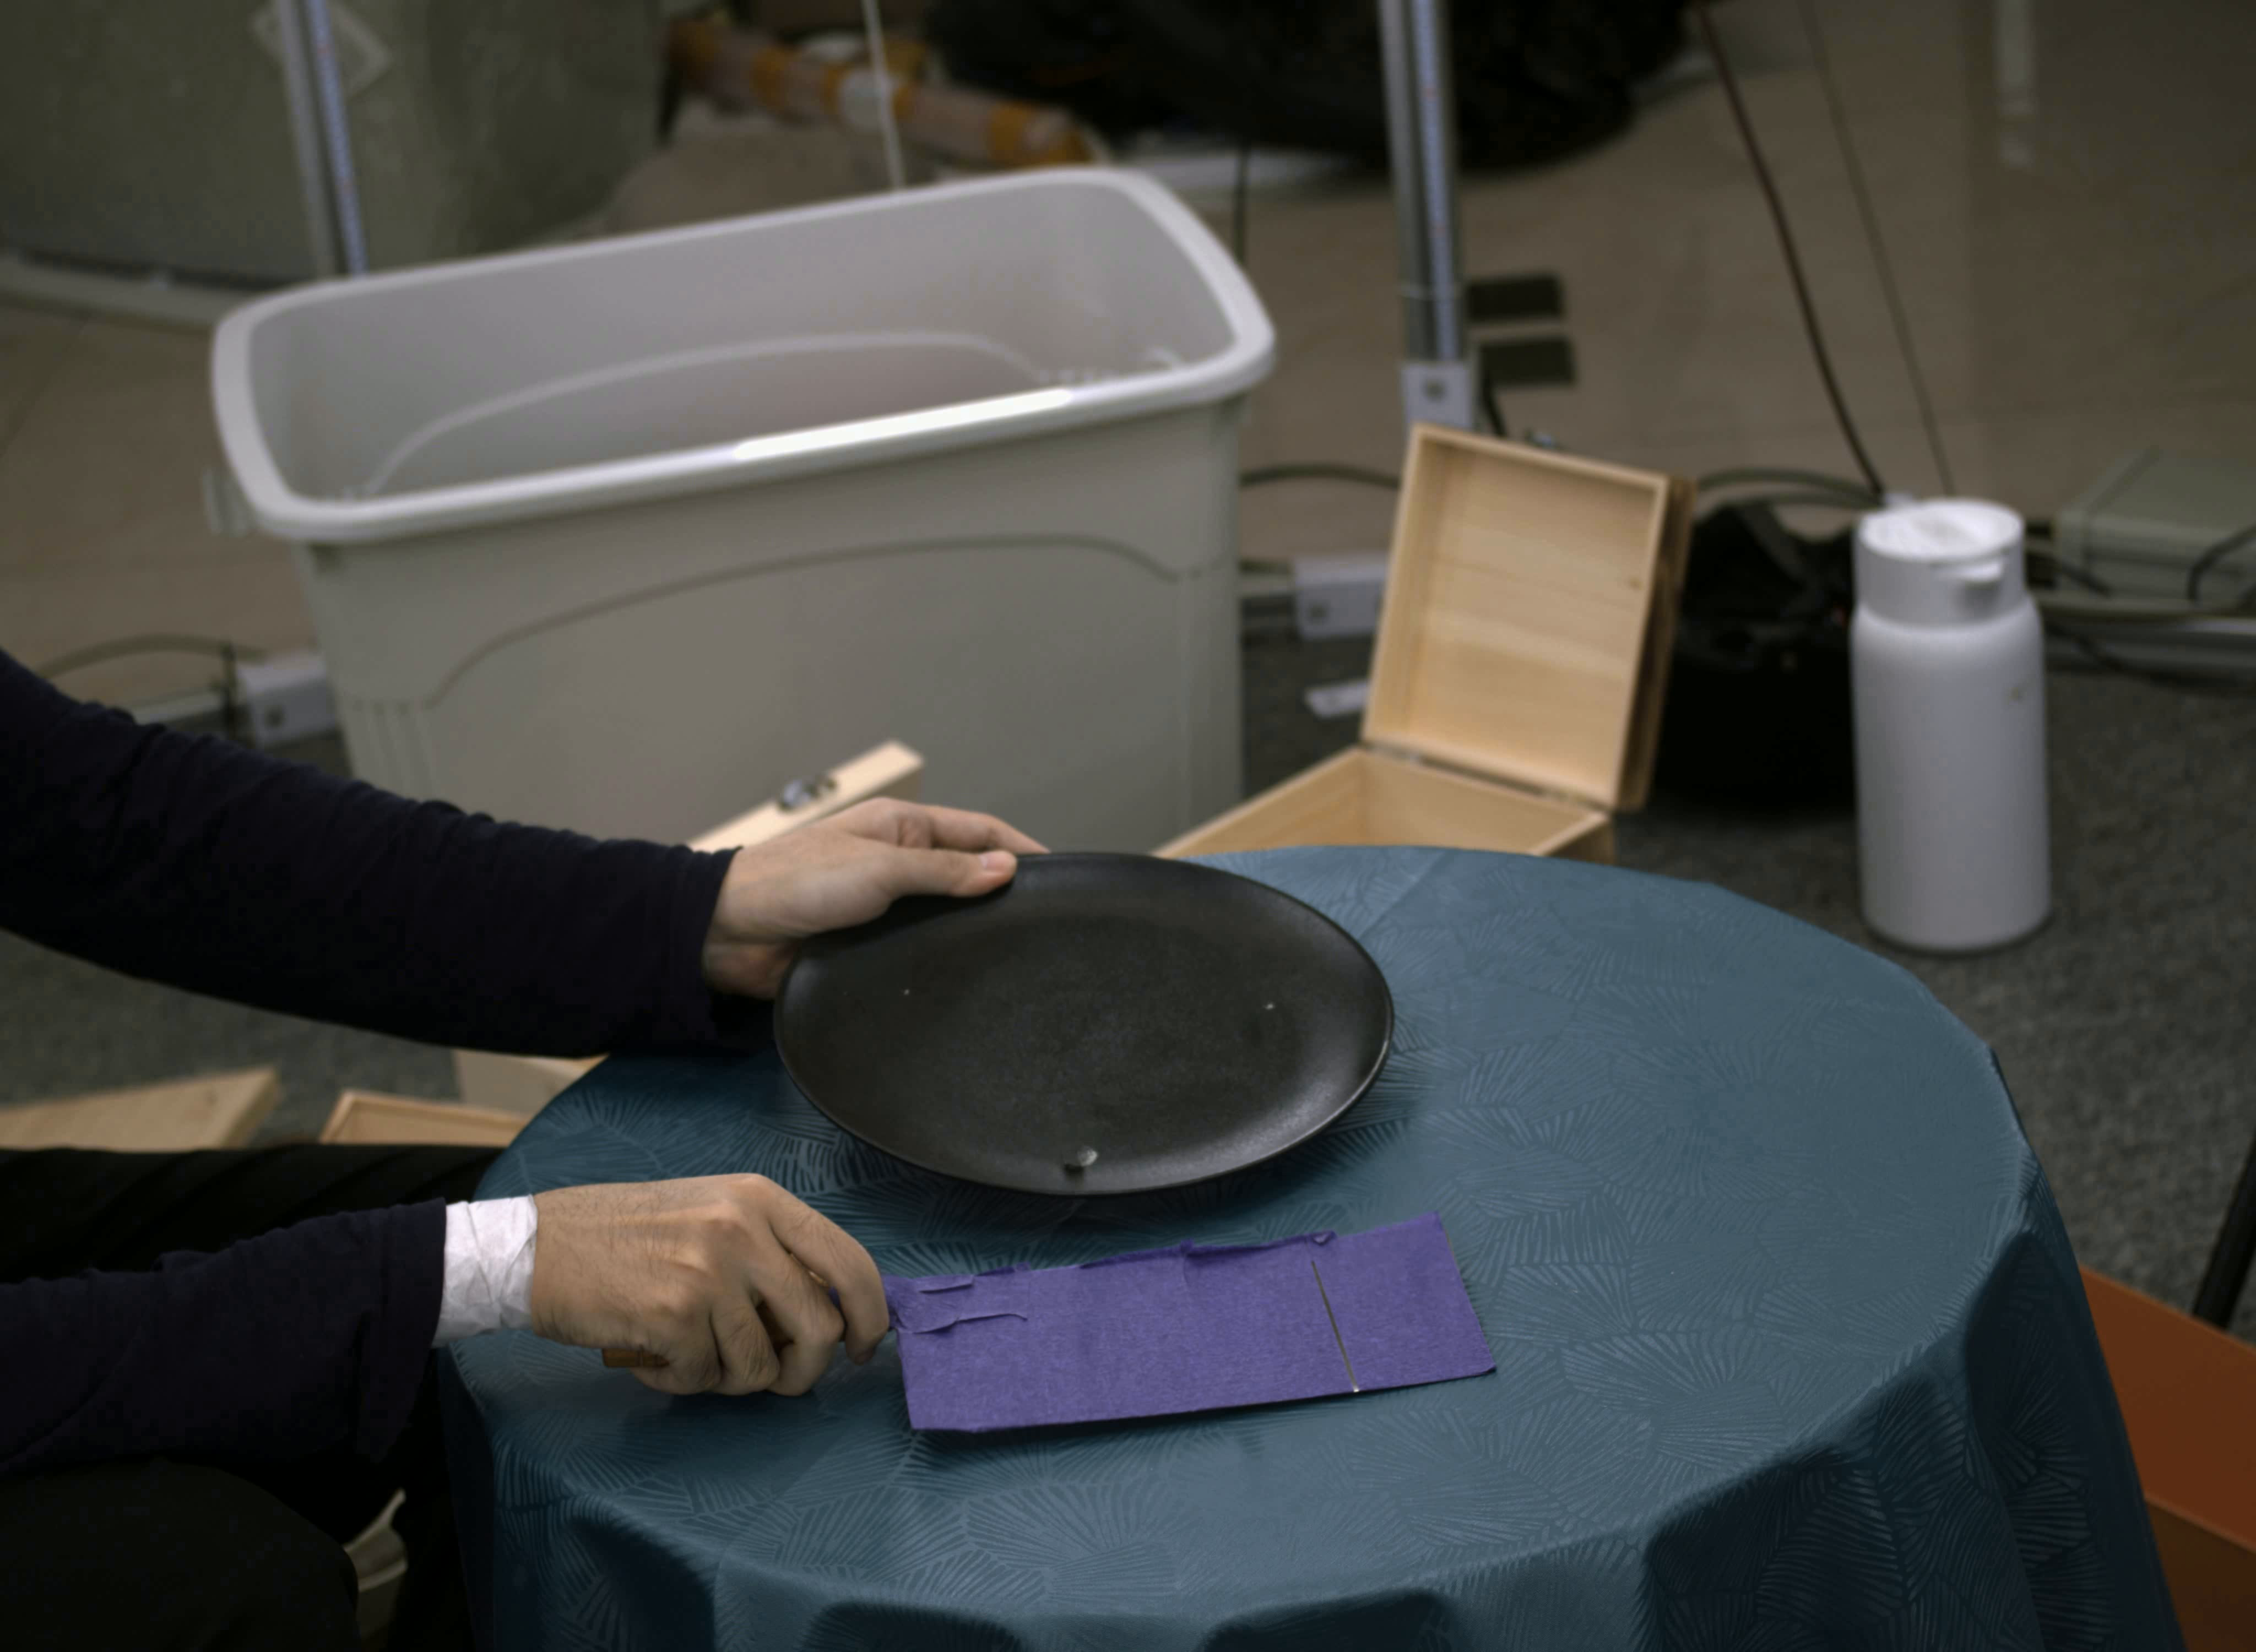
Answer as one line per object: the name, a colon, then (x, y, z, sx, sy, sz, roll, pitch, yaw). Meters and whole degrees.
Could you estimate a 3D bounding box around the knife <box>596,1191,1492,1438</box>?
knife: (-0.030, 0.179, 2.022, 0.314, 0.033, 0.102, -8, 34, -5)

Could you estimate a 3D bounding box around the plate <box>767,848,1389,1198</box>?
plate: (-0.020, 0.081, 2.213, 0.244, 0.024, 0.240, 1, 32, -1)
